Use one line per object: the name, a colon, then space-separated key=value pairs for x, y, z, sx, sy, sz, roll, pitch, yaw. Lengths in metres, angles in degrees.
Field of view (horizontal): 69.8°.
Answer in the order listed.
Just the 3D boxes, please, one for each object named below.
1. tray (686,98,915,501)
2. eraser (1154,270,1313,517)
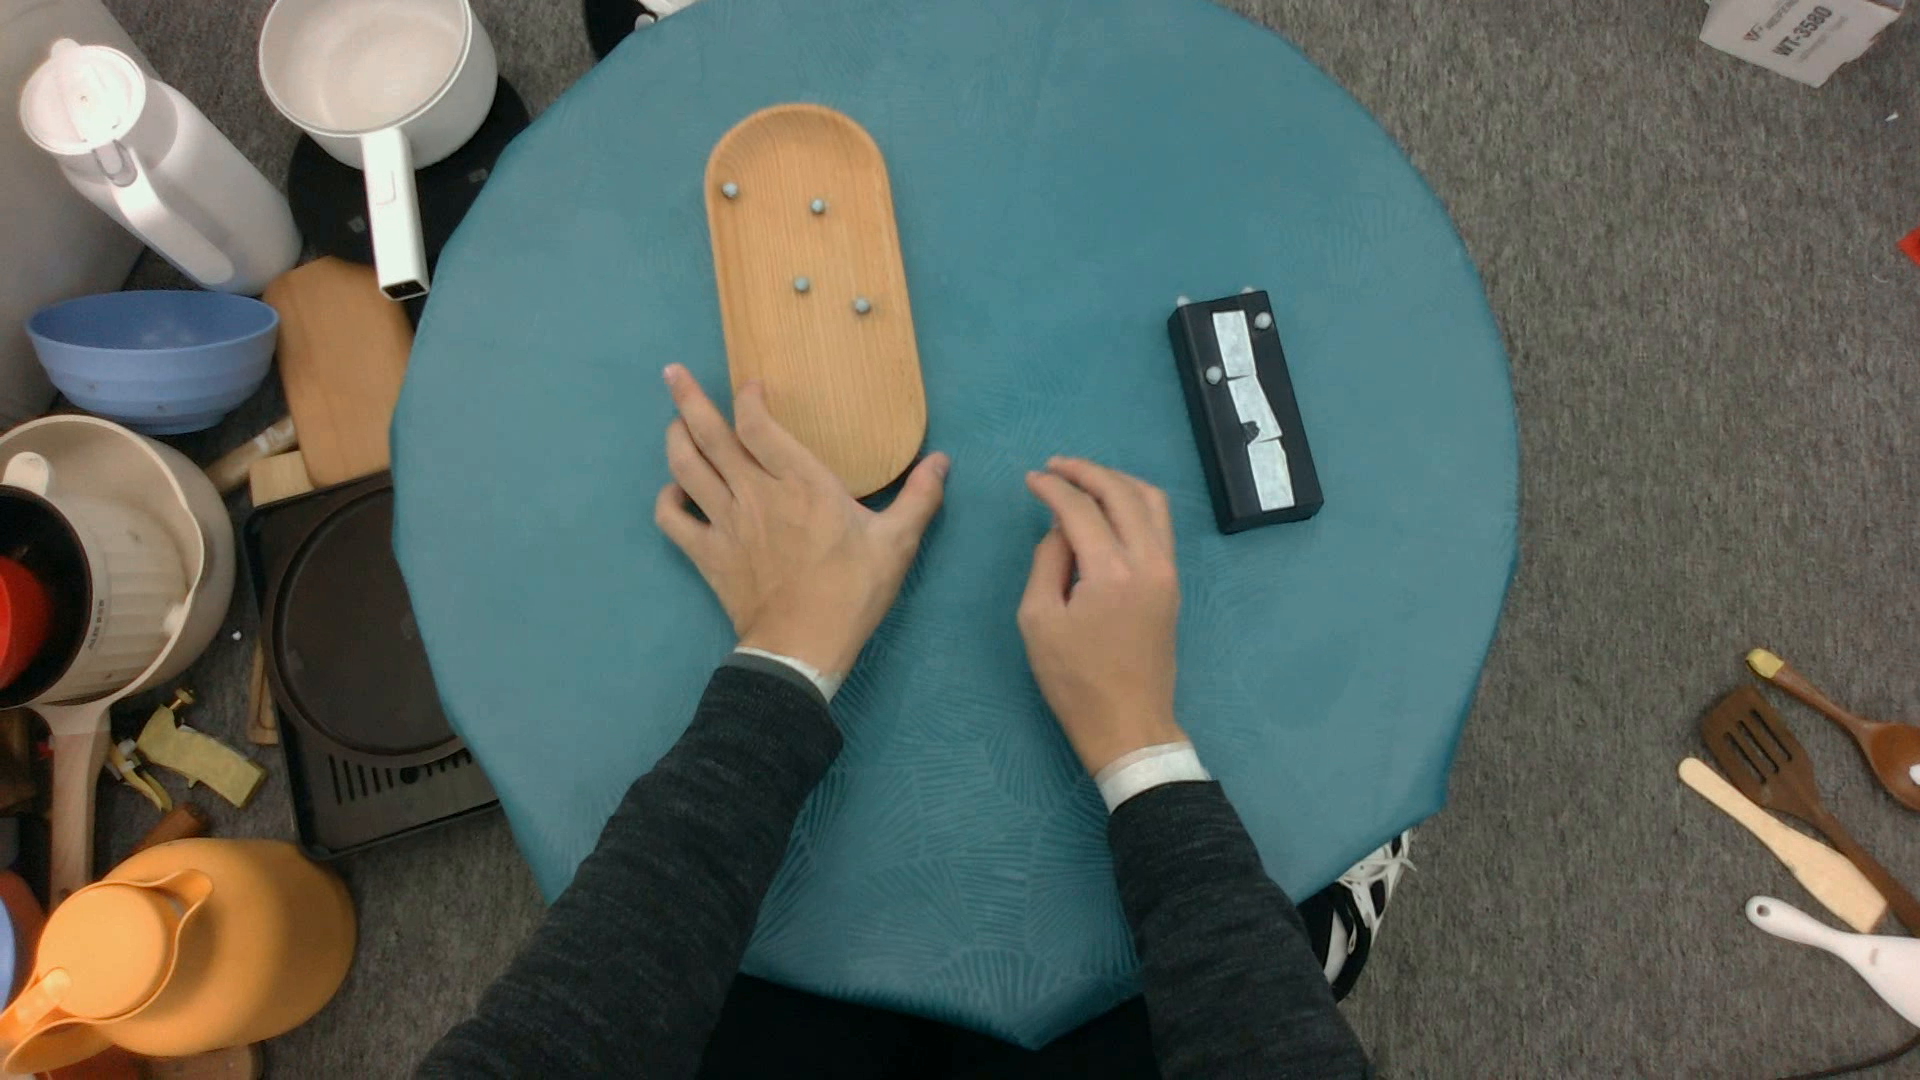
tray: x=-0.087 y=-0.132 z=0.743 sx=0.102 sy=0.020 sz=0.231 roll=-10 pitch=79 yaw=-3
eraser: x=0.143 y=-0.077 z=0.732 sx=0.053 sy=0.030 sz=0.125 roll=-13 pitch=78 yaw=-2
